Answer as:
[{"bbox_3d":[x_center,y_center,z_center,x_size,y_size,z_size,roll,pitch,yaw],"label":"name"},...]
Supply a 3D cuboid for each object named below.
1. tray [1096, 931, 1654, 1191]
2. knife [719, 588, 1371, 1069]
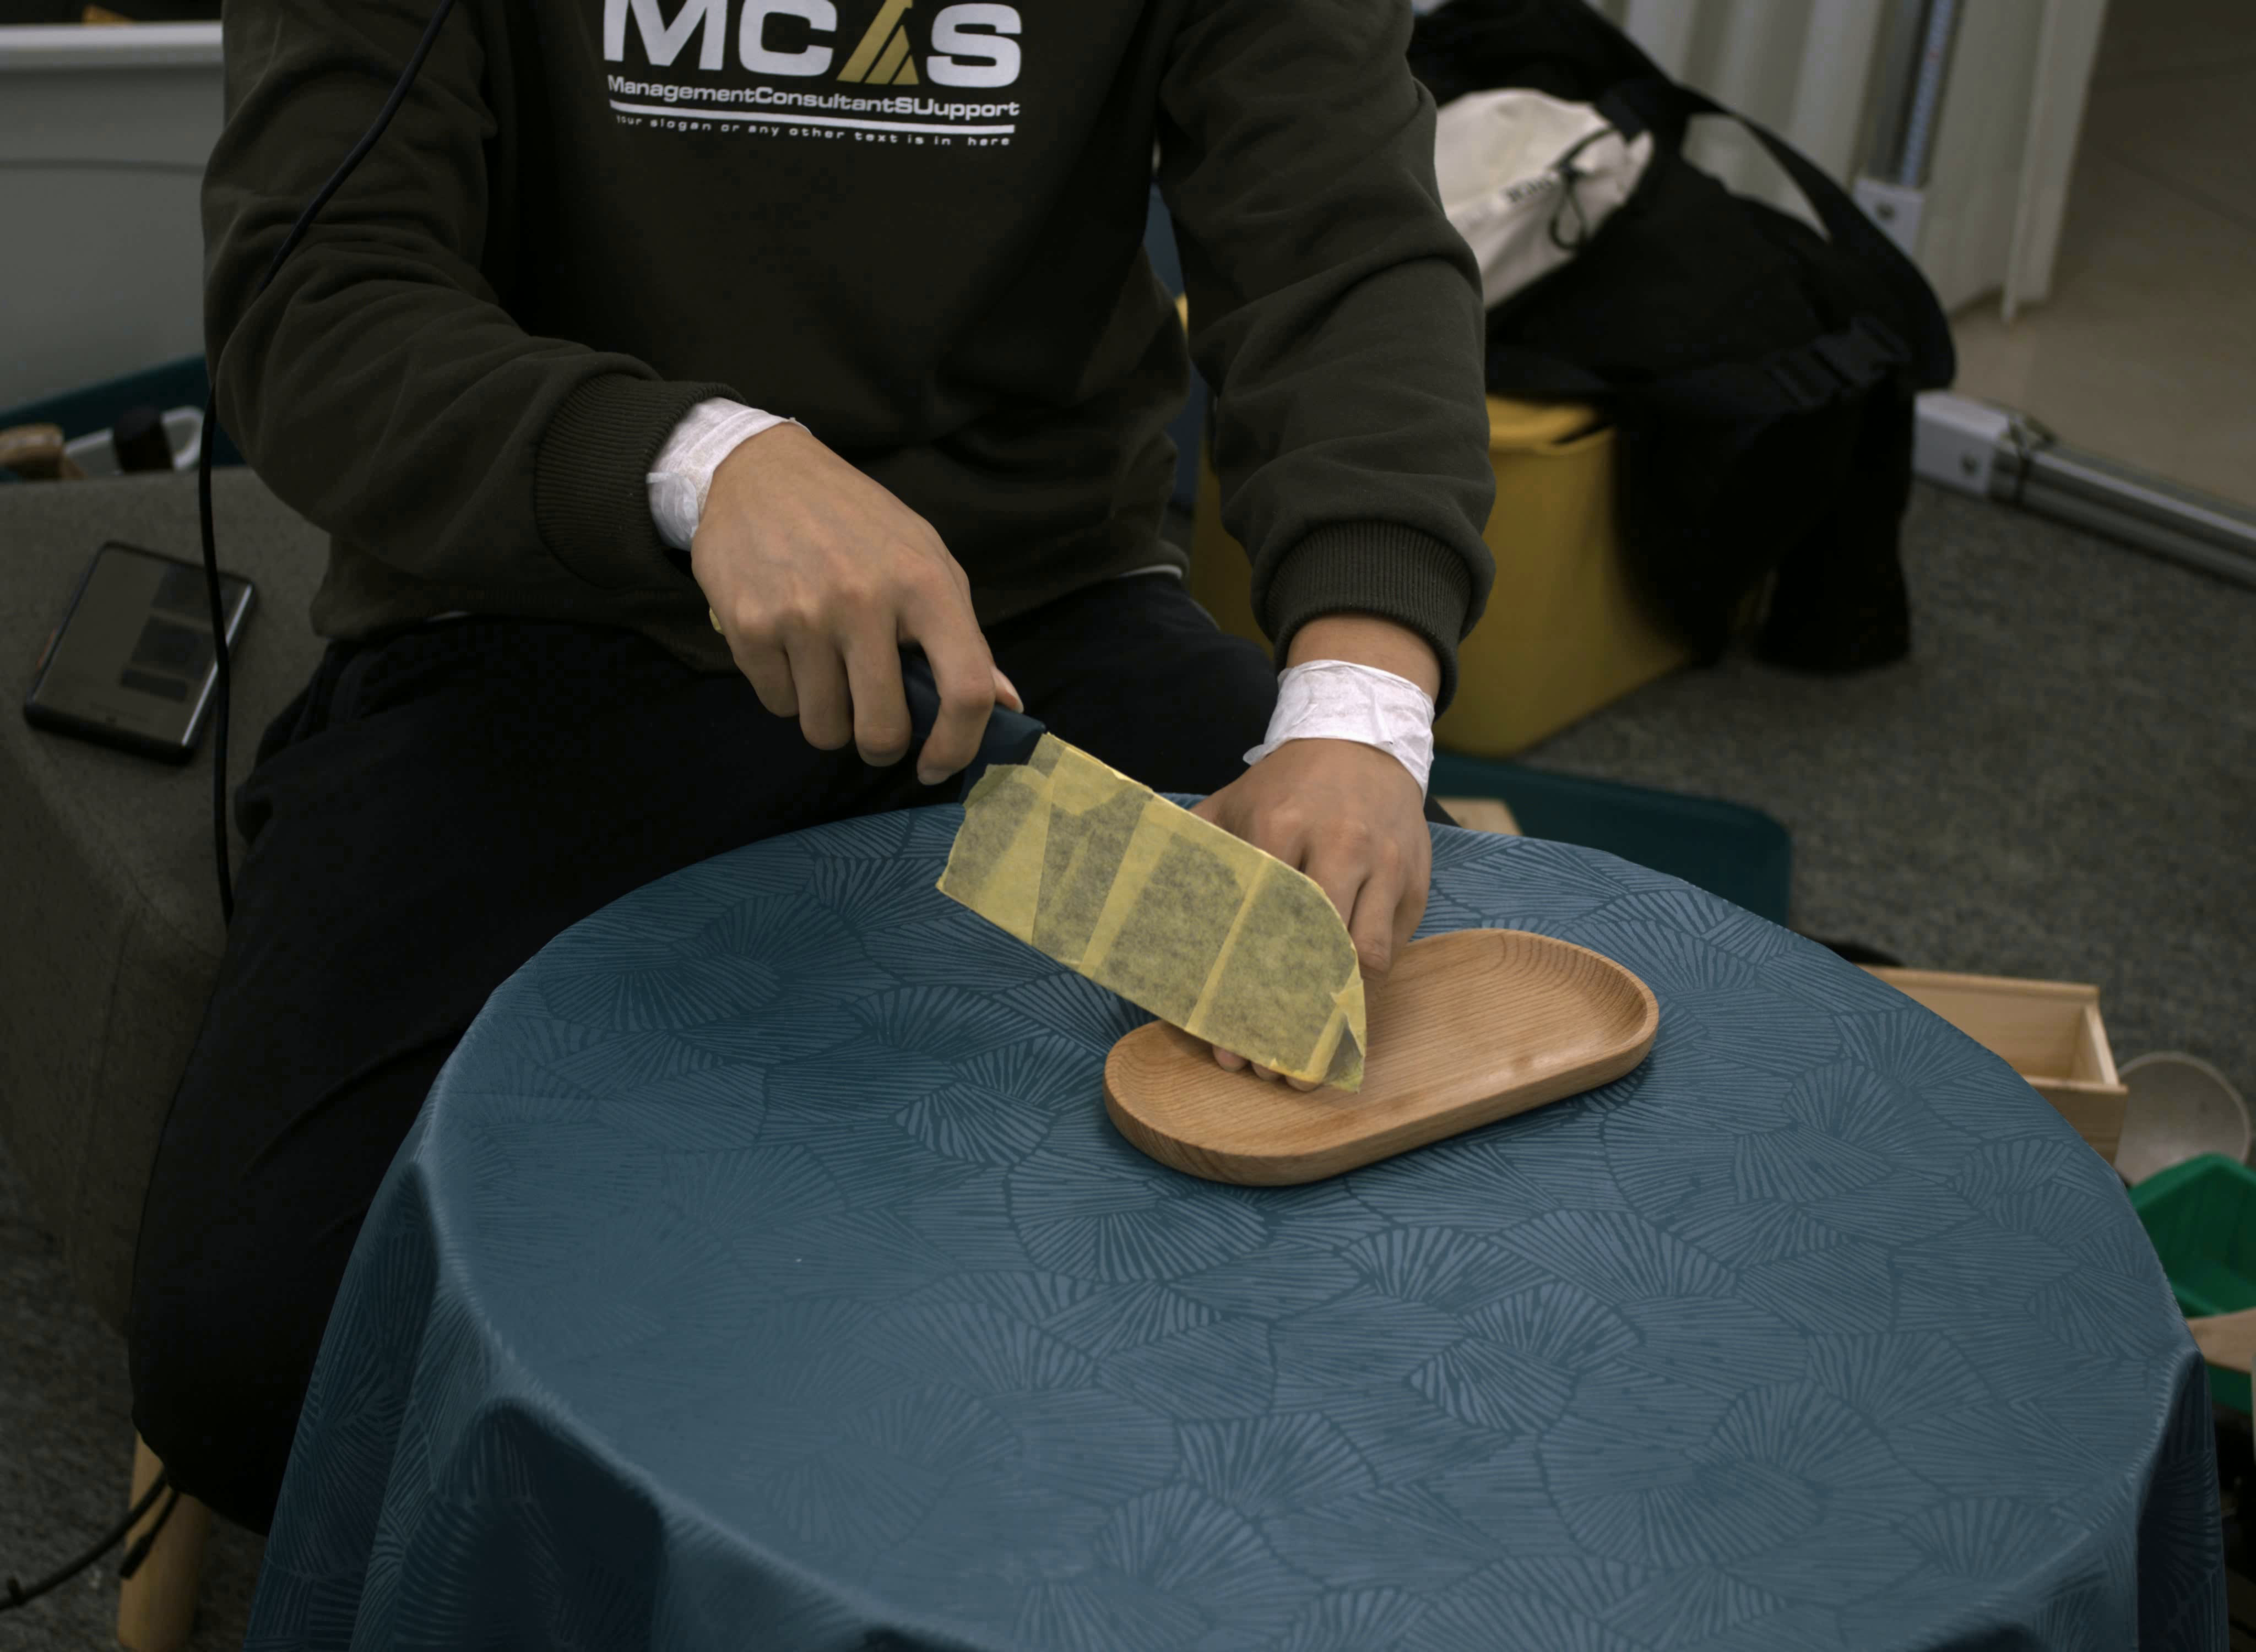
[{"bbox_3d":[0.089,0.083,1.889,0.230,0.020,0.102,-17,33,-36],"label":"tray"},{"bbox_3d":[-0.033,0.000,1.890,0.291,0.081,0.027,32,17,18],"label":"knife"}]
